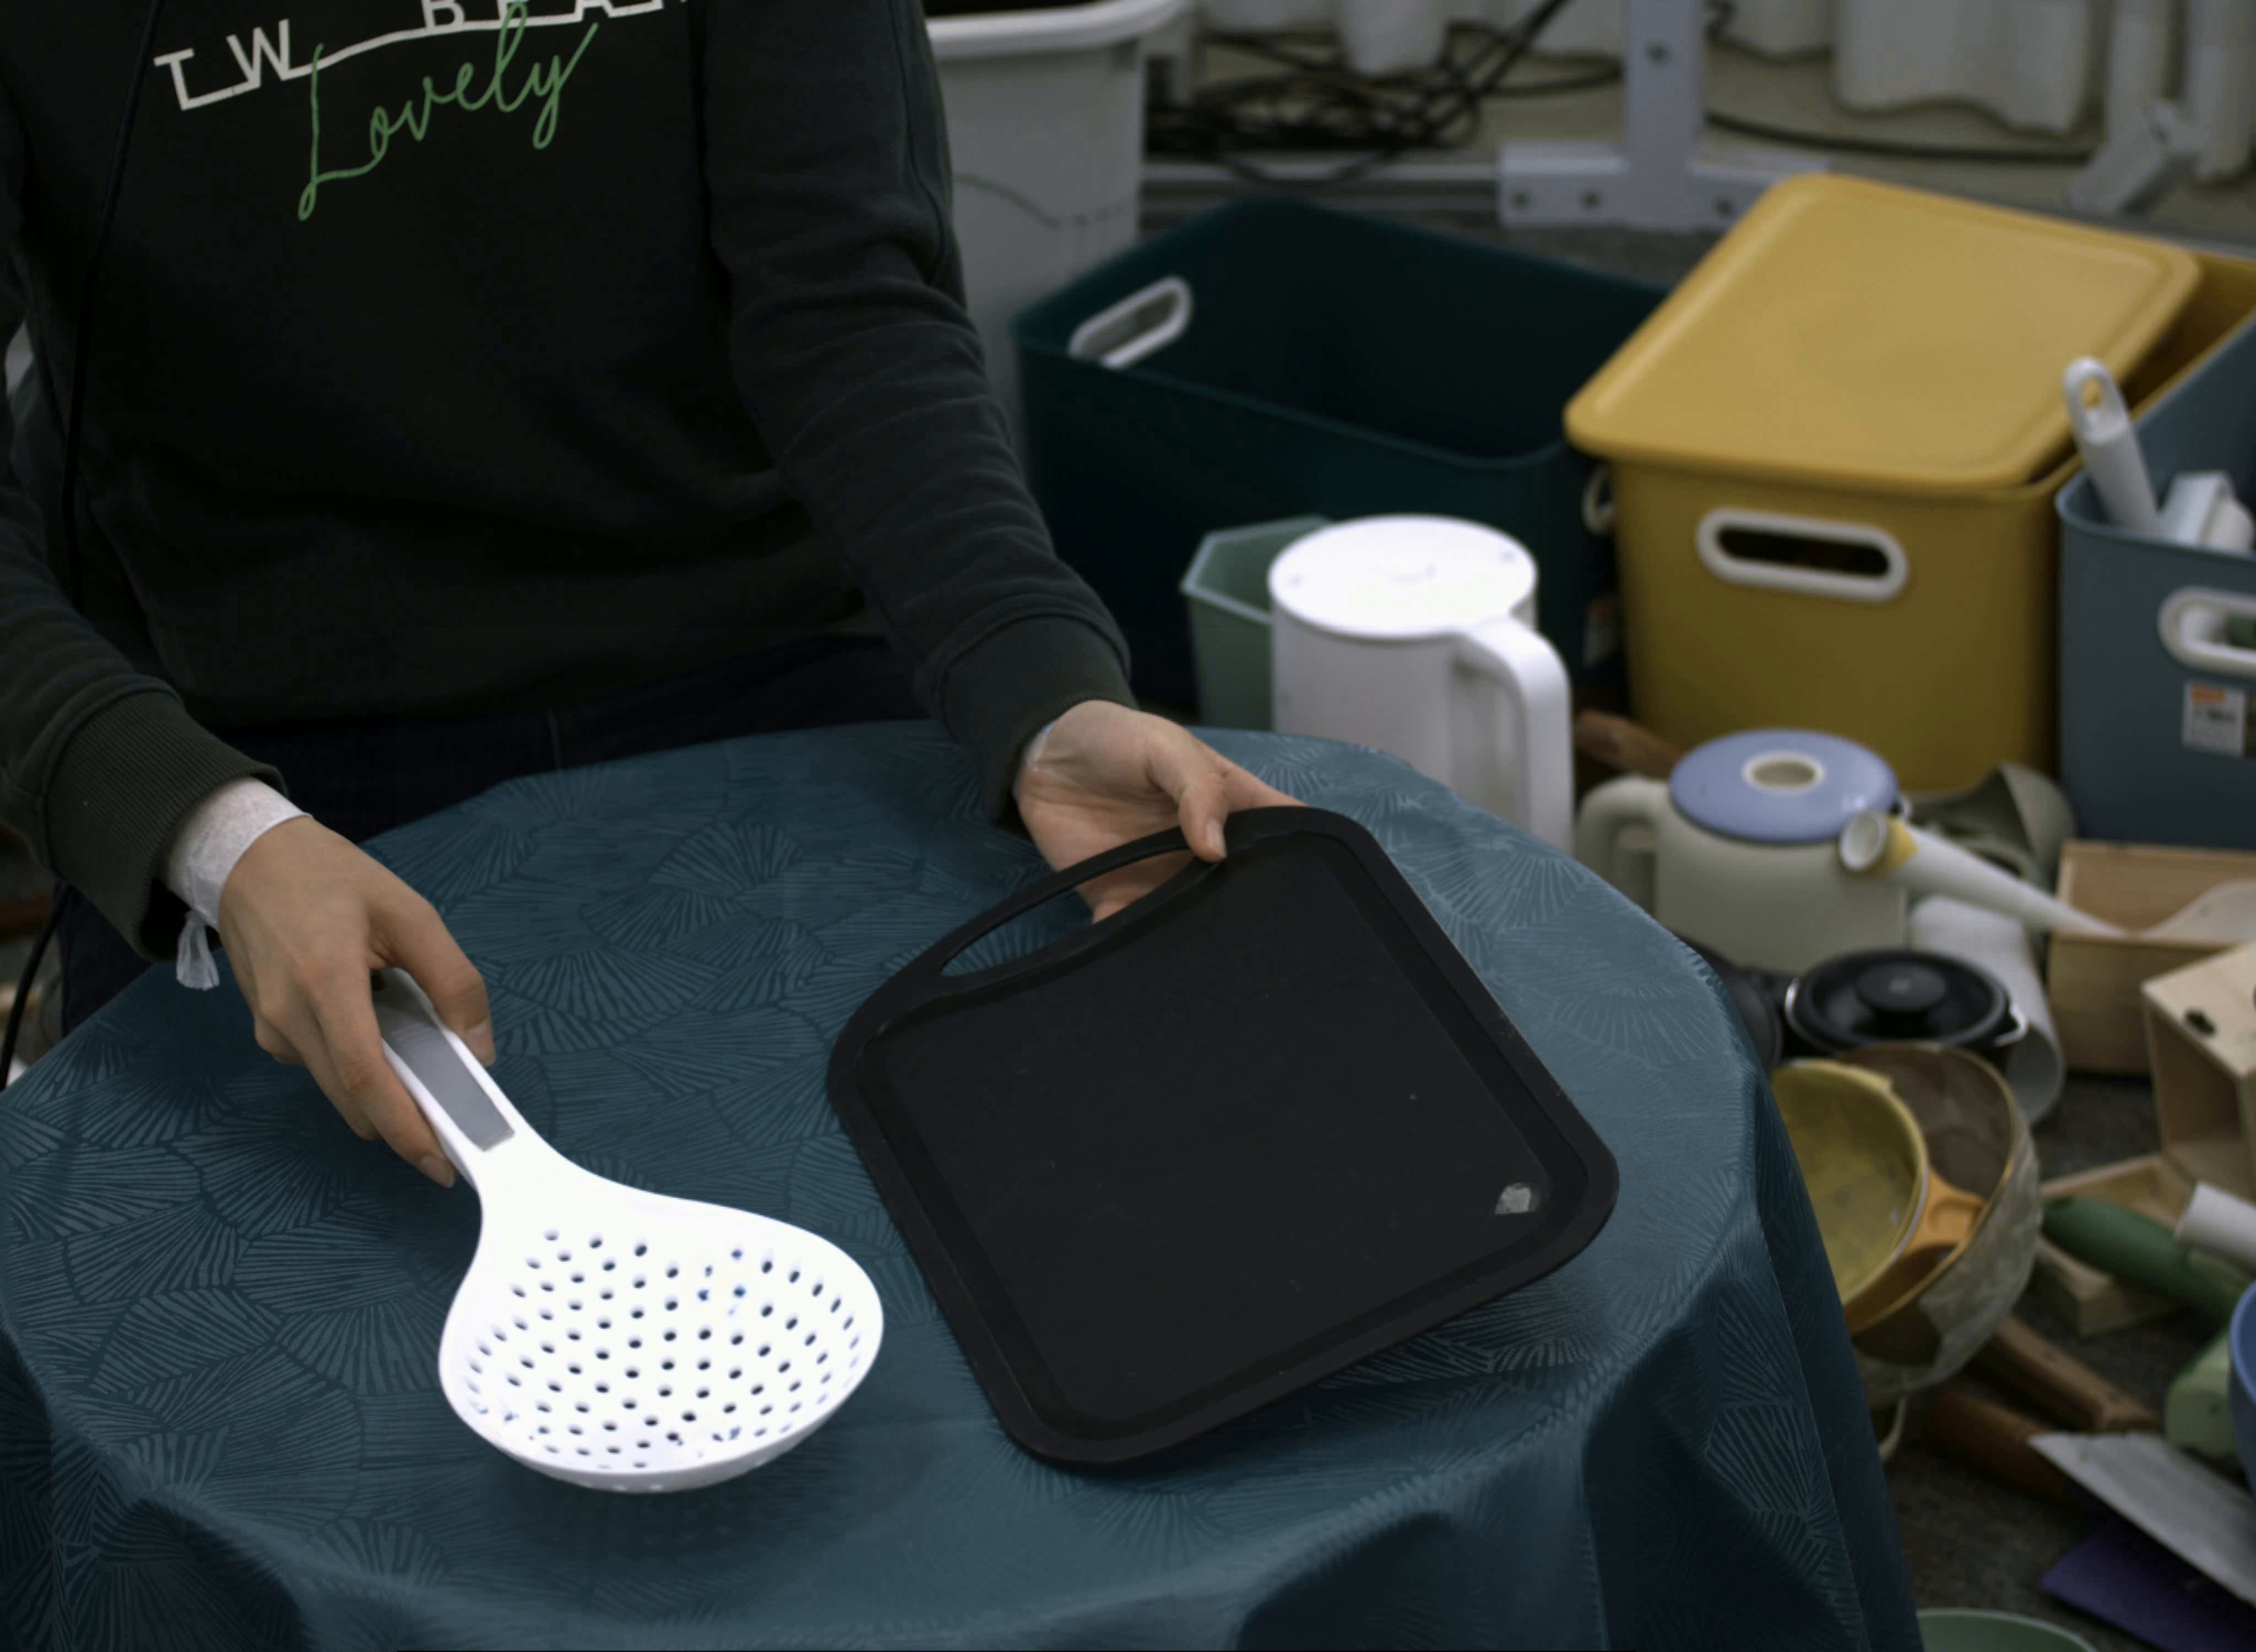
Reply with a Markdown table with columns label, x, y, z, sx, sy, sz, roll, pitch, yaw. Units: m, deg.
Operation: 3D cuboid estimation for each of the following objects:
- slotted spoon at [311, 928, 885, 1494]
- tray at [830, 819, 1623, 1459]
| label | x | y | z | sx | sy | sz | roll | pitch | yaw |
| --- | --- | --- | --- | --- | --- | --- | --- | --- | --- |
| slotted spoon | -0.192 | 0.118 | 1.804 | 0.137 | 0.045 | 0.352 | -16 | 37 | -23 |
| tray | 0.022 | 0.092 | 1.851 | 0.211 | 0.009 | 0.328 | -24 | 31 | -7 |
